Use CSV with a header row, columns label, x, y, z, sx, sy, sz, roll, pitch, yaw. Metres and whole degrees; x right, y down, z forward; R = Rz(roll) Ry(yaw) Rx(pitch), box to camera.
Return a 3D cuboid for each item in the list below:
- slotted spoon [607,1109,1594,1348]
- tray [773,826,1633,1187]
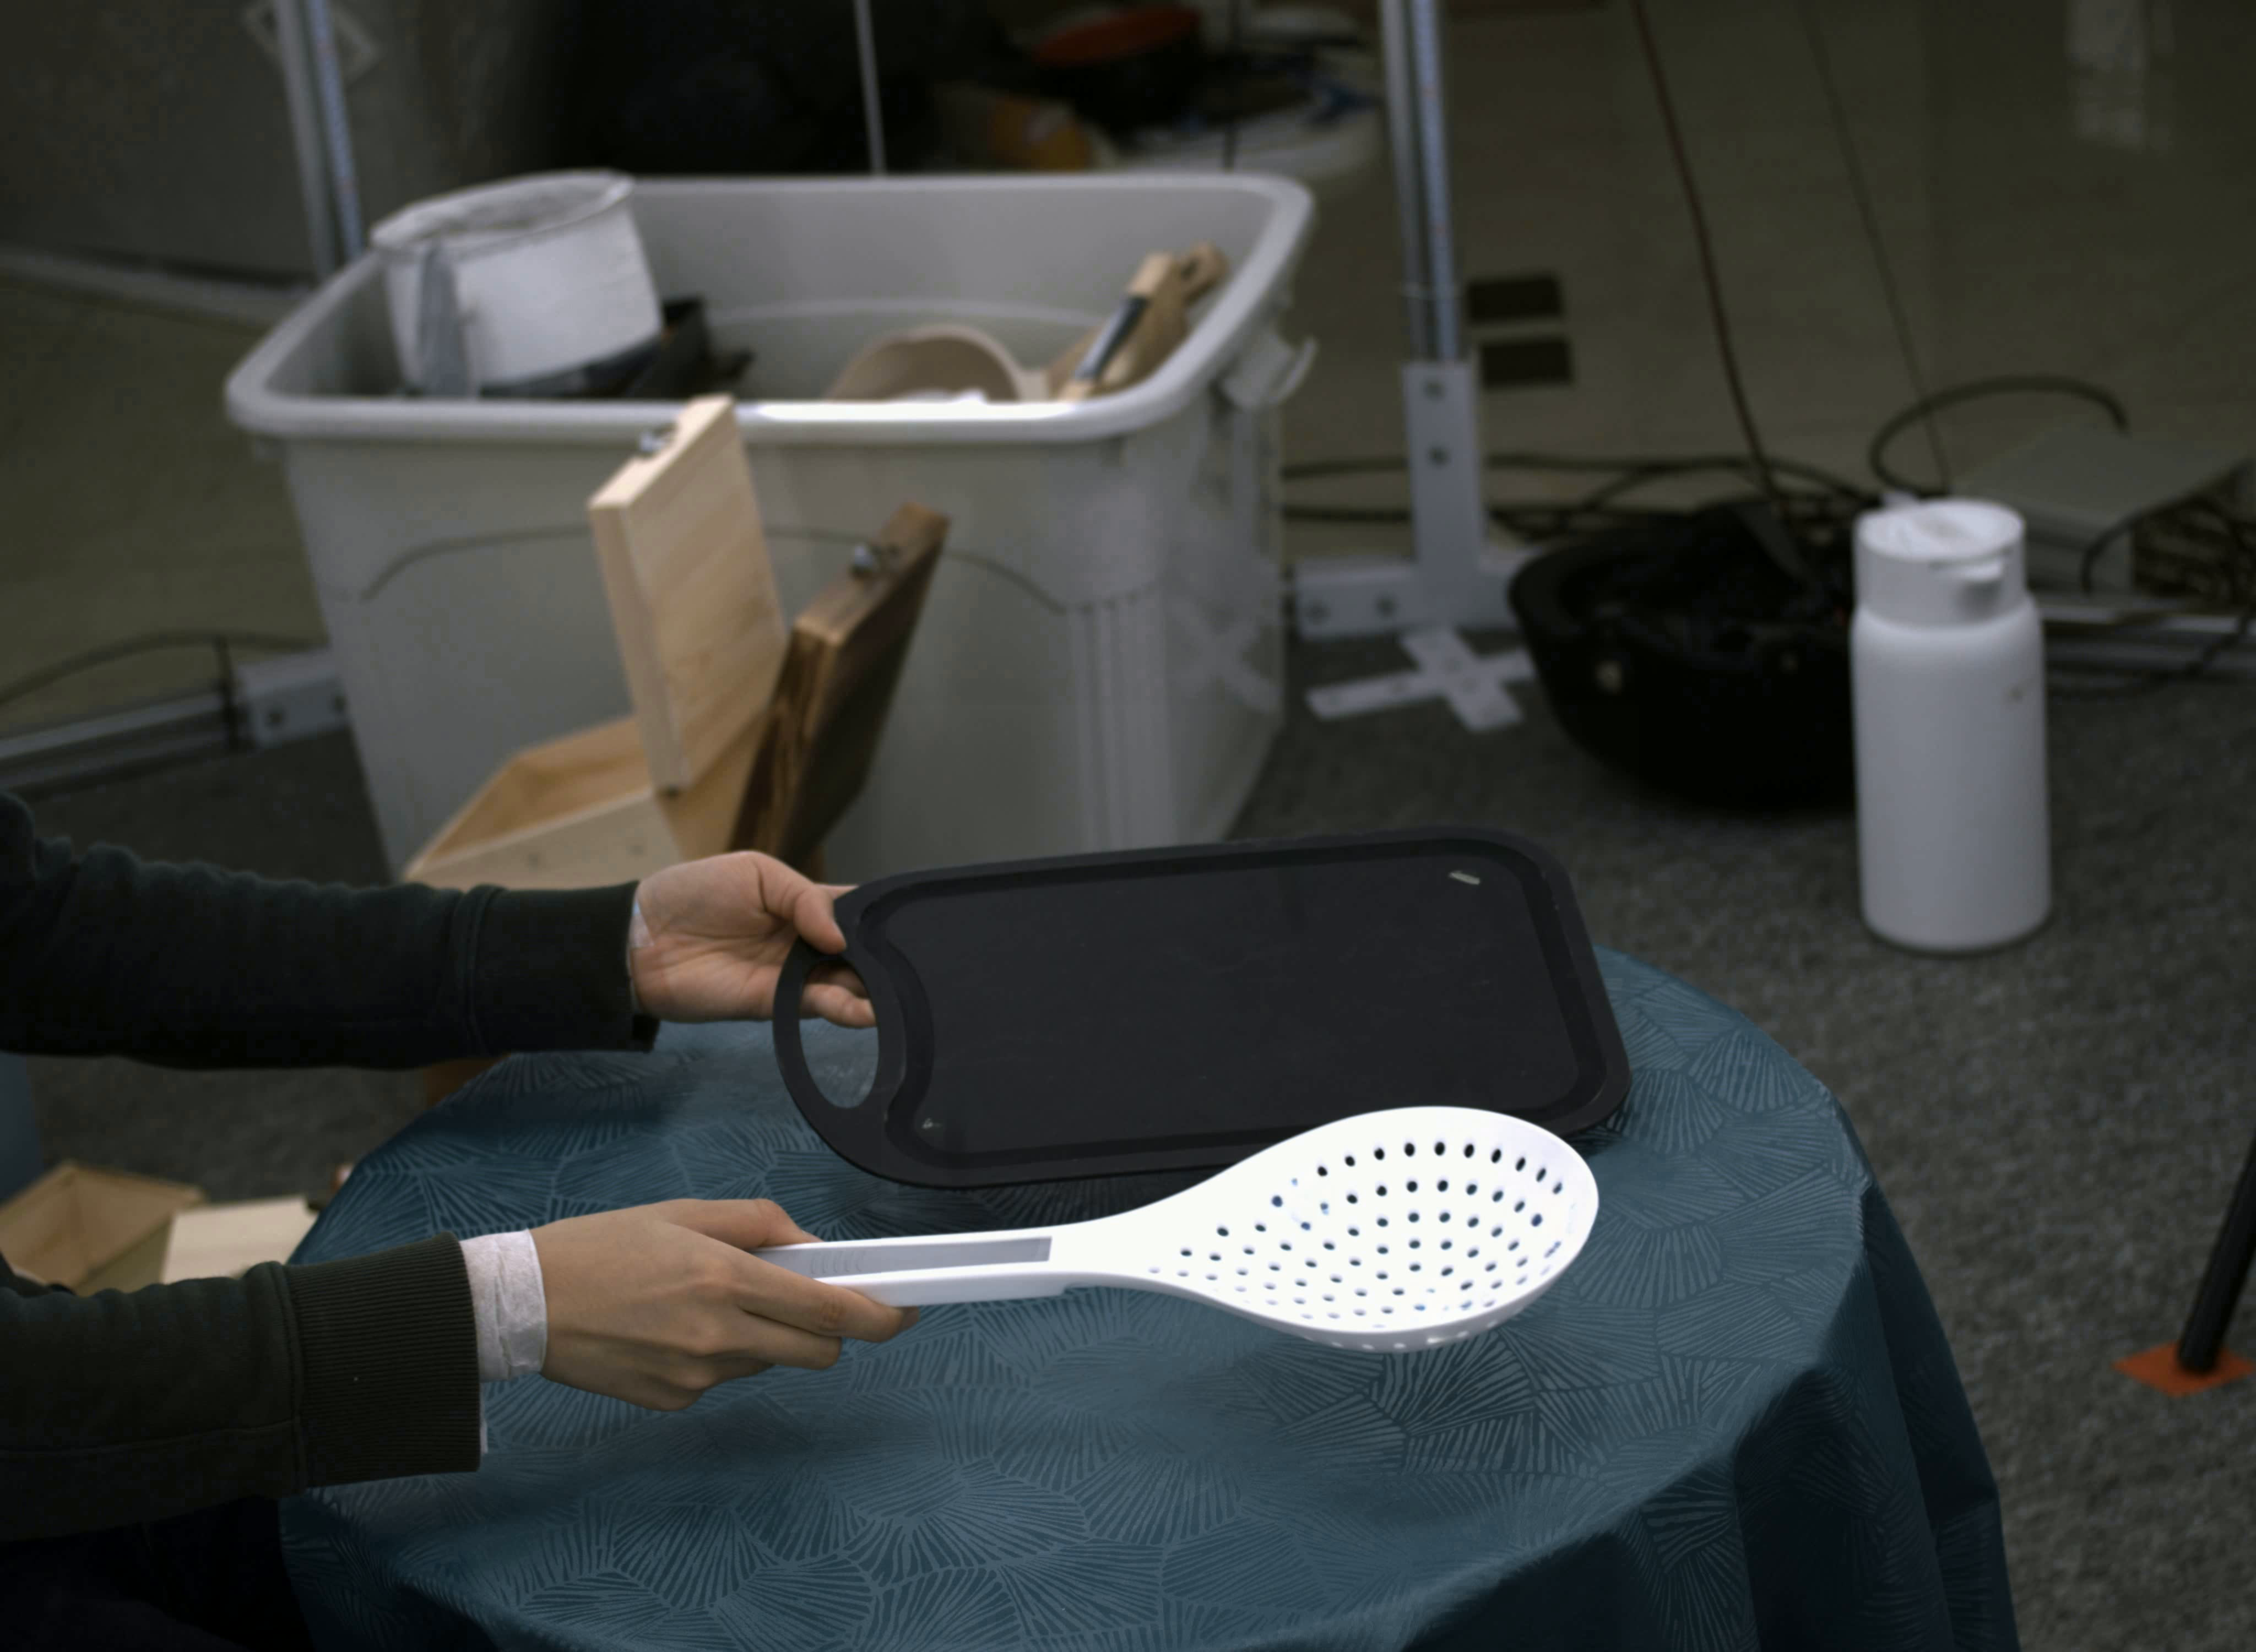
label,x,y,z,sx,sy,sz,roll,pitch,yaw
slotted spoon,-0.011,0.150,1.989,0.349,0.046,0.134,-1,30,6
tray,0.025,0.067,2.199,0.325,0.010,0.207,-4,35,-5
